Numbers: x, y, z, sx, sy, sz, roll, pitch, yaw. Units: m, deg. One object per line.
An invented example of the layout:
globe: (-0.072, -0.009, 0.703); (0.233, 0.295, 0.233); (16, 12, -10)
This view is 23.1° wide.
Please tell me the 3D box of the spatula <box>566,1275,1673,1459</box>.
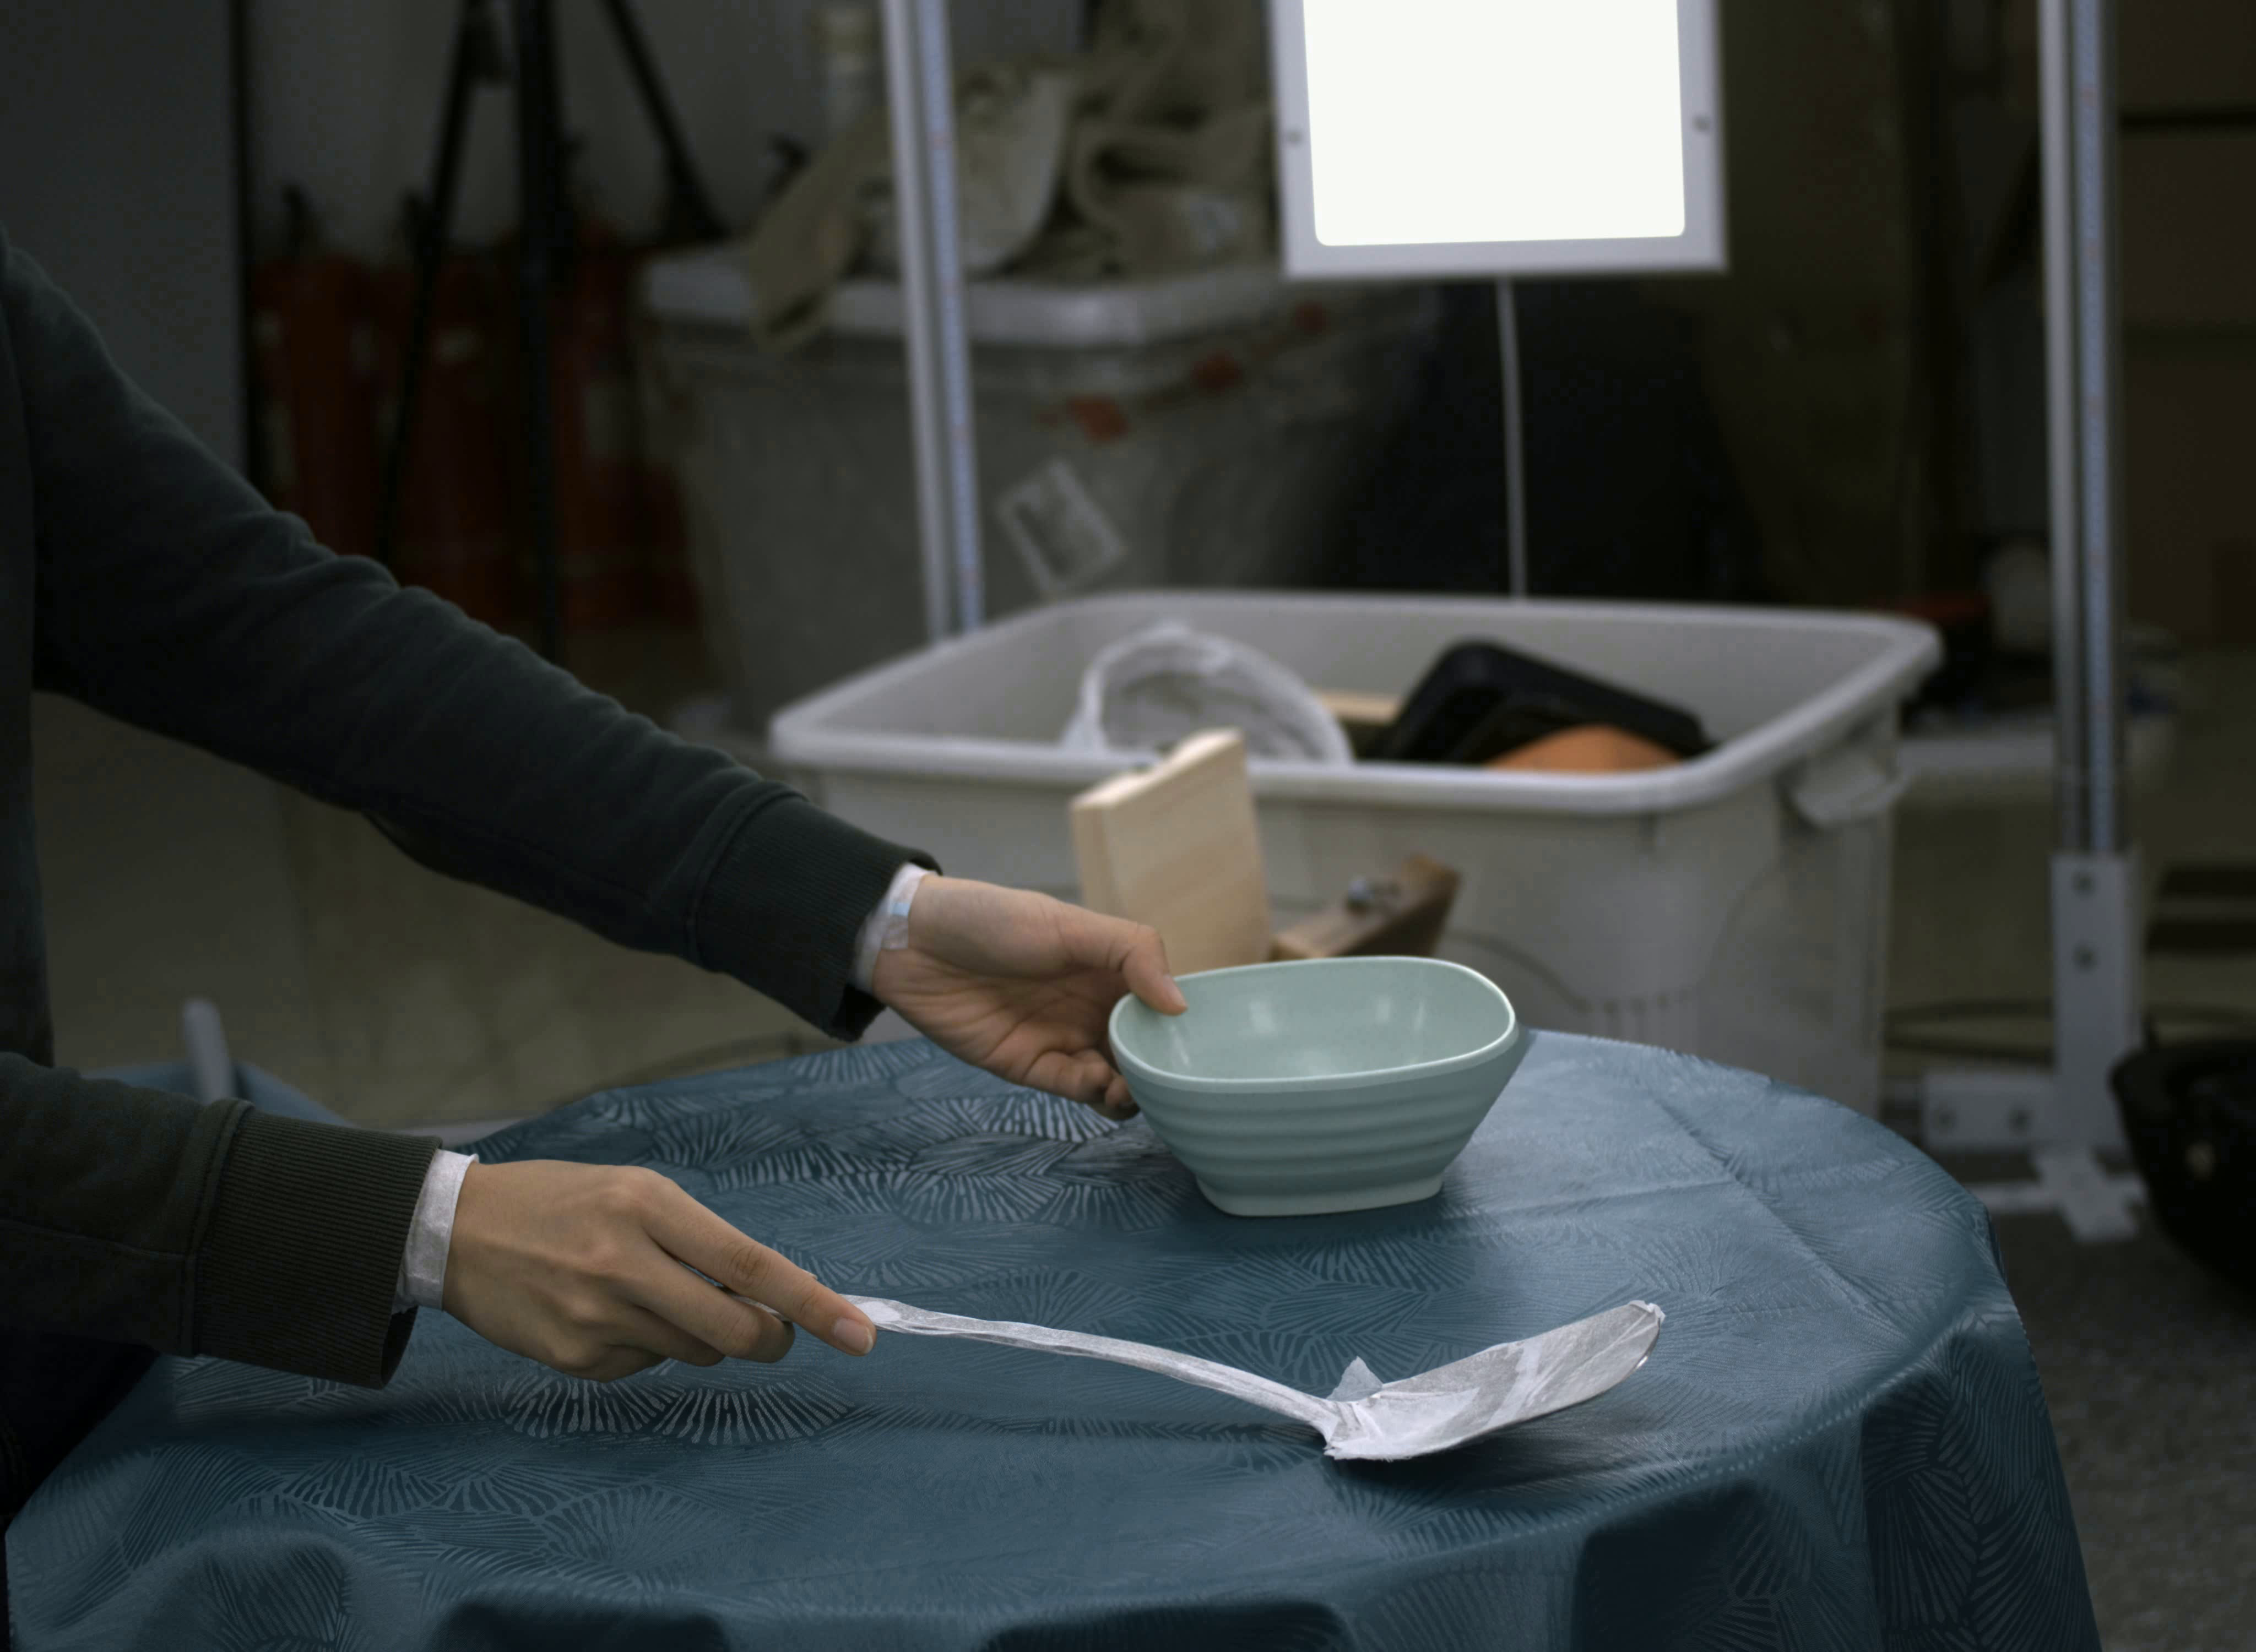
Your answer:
spatula: (-0.014, 0.153, 1.678); (0.370, 0.045, 0.097); (7, 19, 22)

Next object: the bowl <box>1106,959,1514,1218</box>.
bowl: (0.063, 0.093, 1.889); (0.151, 0.059, 0.151); (-2, 16, -1)
